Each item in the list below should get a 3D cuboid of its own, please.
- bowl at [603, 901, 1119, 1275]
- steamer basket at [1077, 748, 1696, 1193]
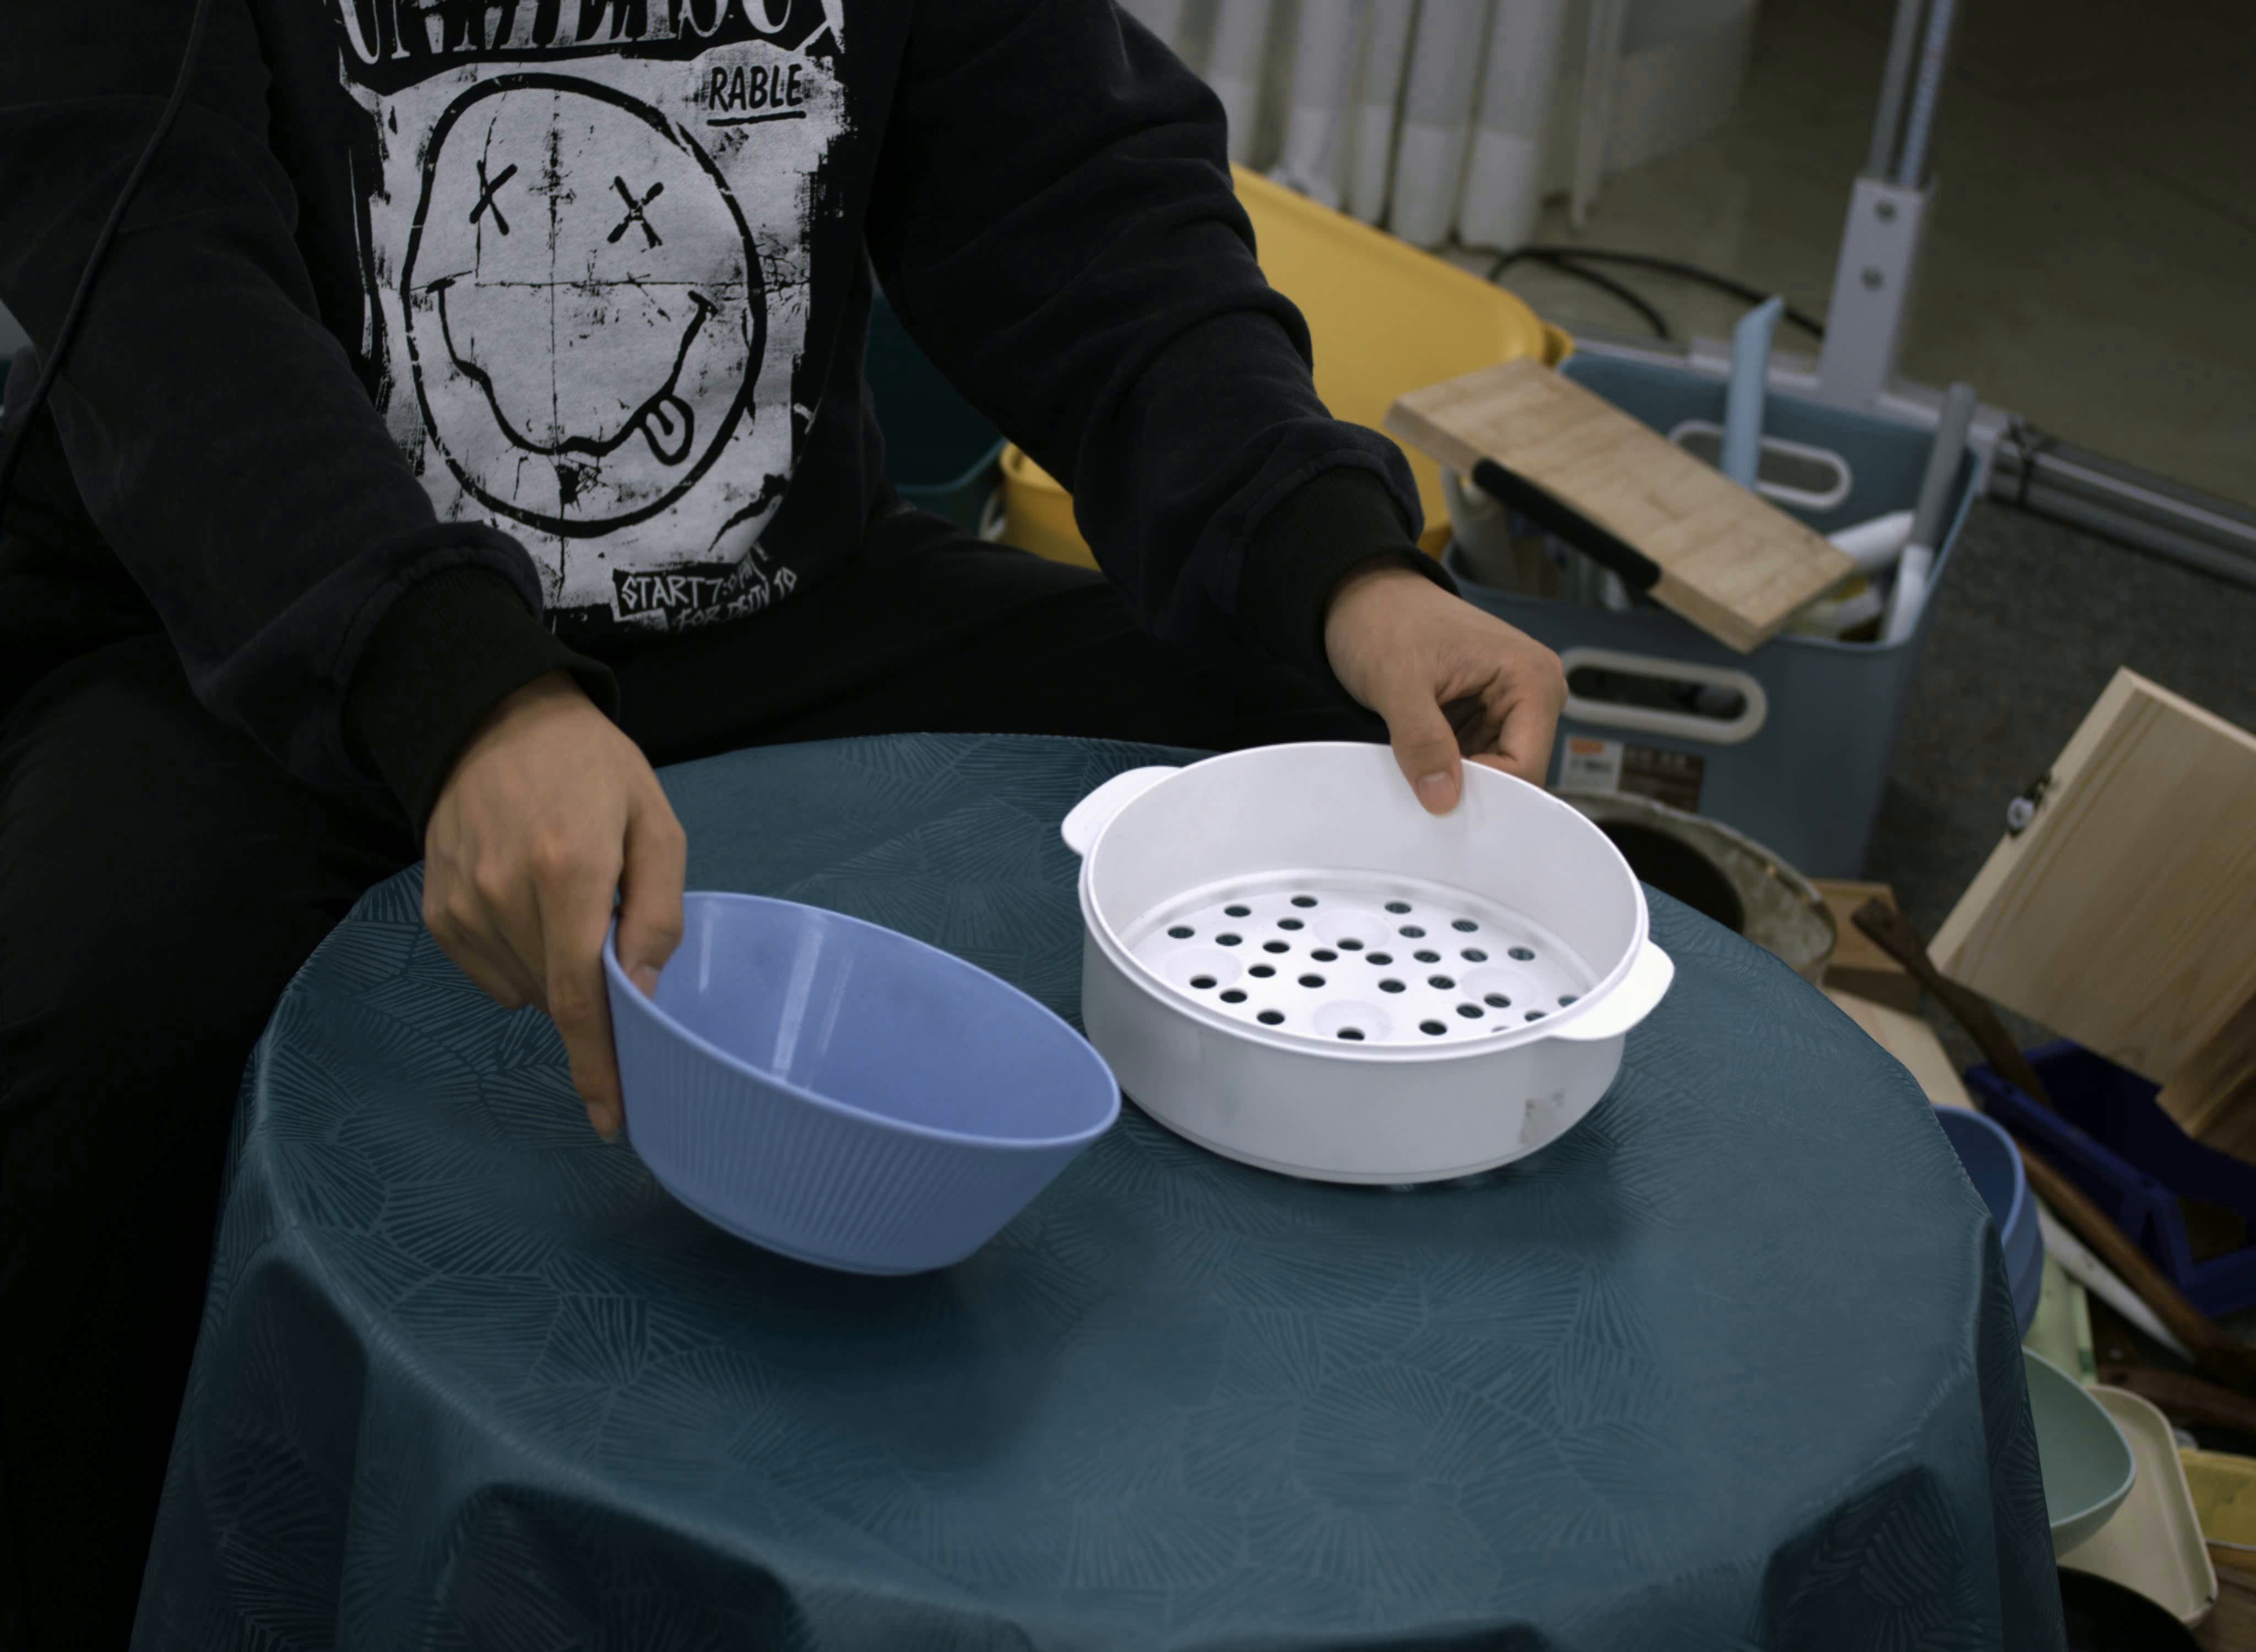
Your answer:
[{"bbox_3d":[-0.095,0.090,1.723,0.175,0.070,0.177,18,16,-6],"label":"bowl"},{"bbox_3d":[0.086,0.051,1.876,0.231,0.069,0.201,22,35,24],"label":"steamer basket"}]
